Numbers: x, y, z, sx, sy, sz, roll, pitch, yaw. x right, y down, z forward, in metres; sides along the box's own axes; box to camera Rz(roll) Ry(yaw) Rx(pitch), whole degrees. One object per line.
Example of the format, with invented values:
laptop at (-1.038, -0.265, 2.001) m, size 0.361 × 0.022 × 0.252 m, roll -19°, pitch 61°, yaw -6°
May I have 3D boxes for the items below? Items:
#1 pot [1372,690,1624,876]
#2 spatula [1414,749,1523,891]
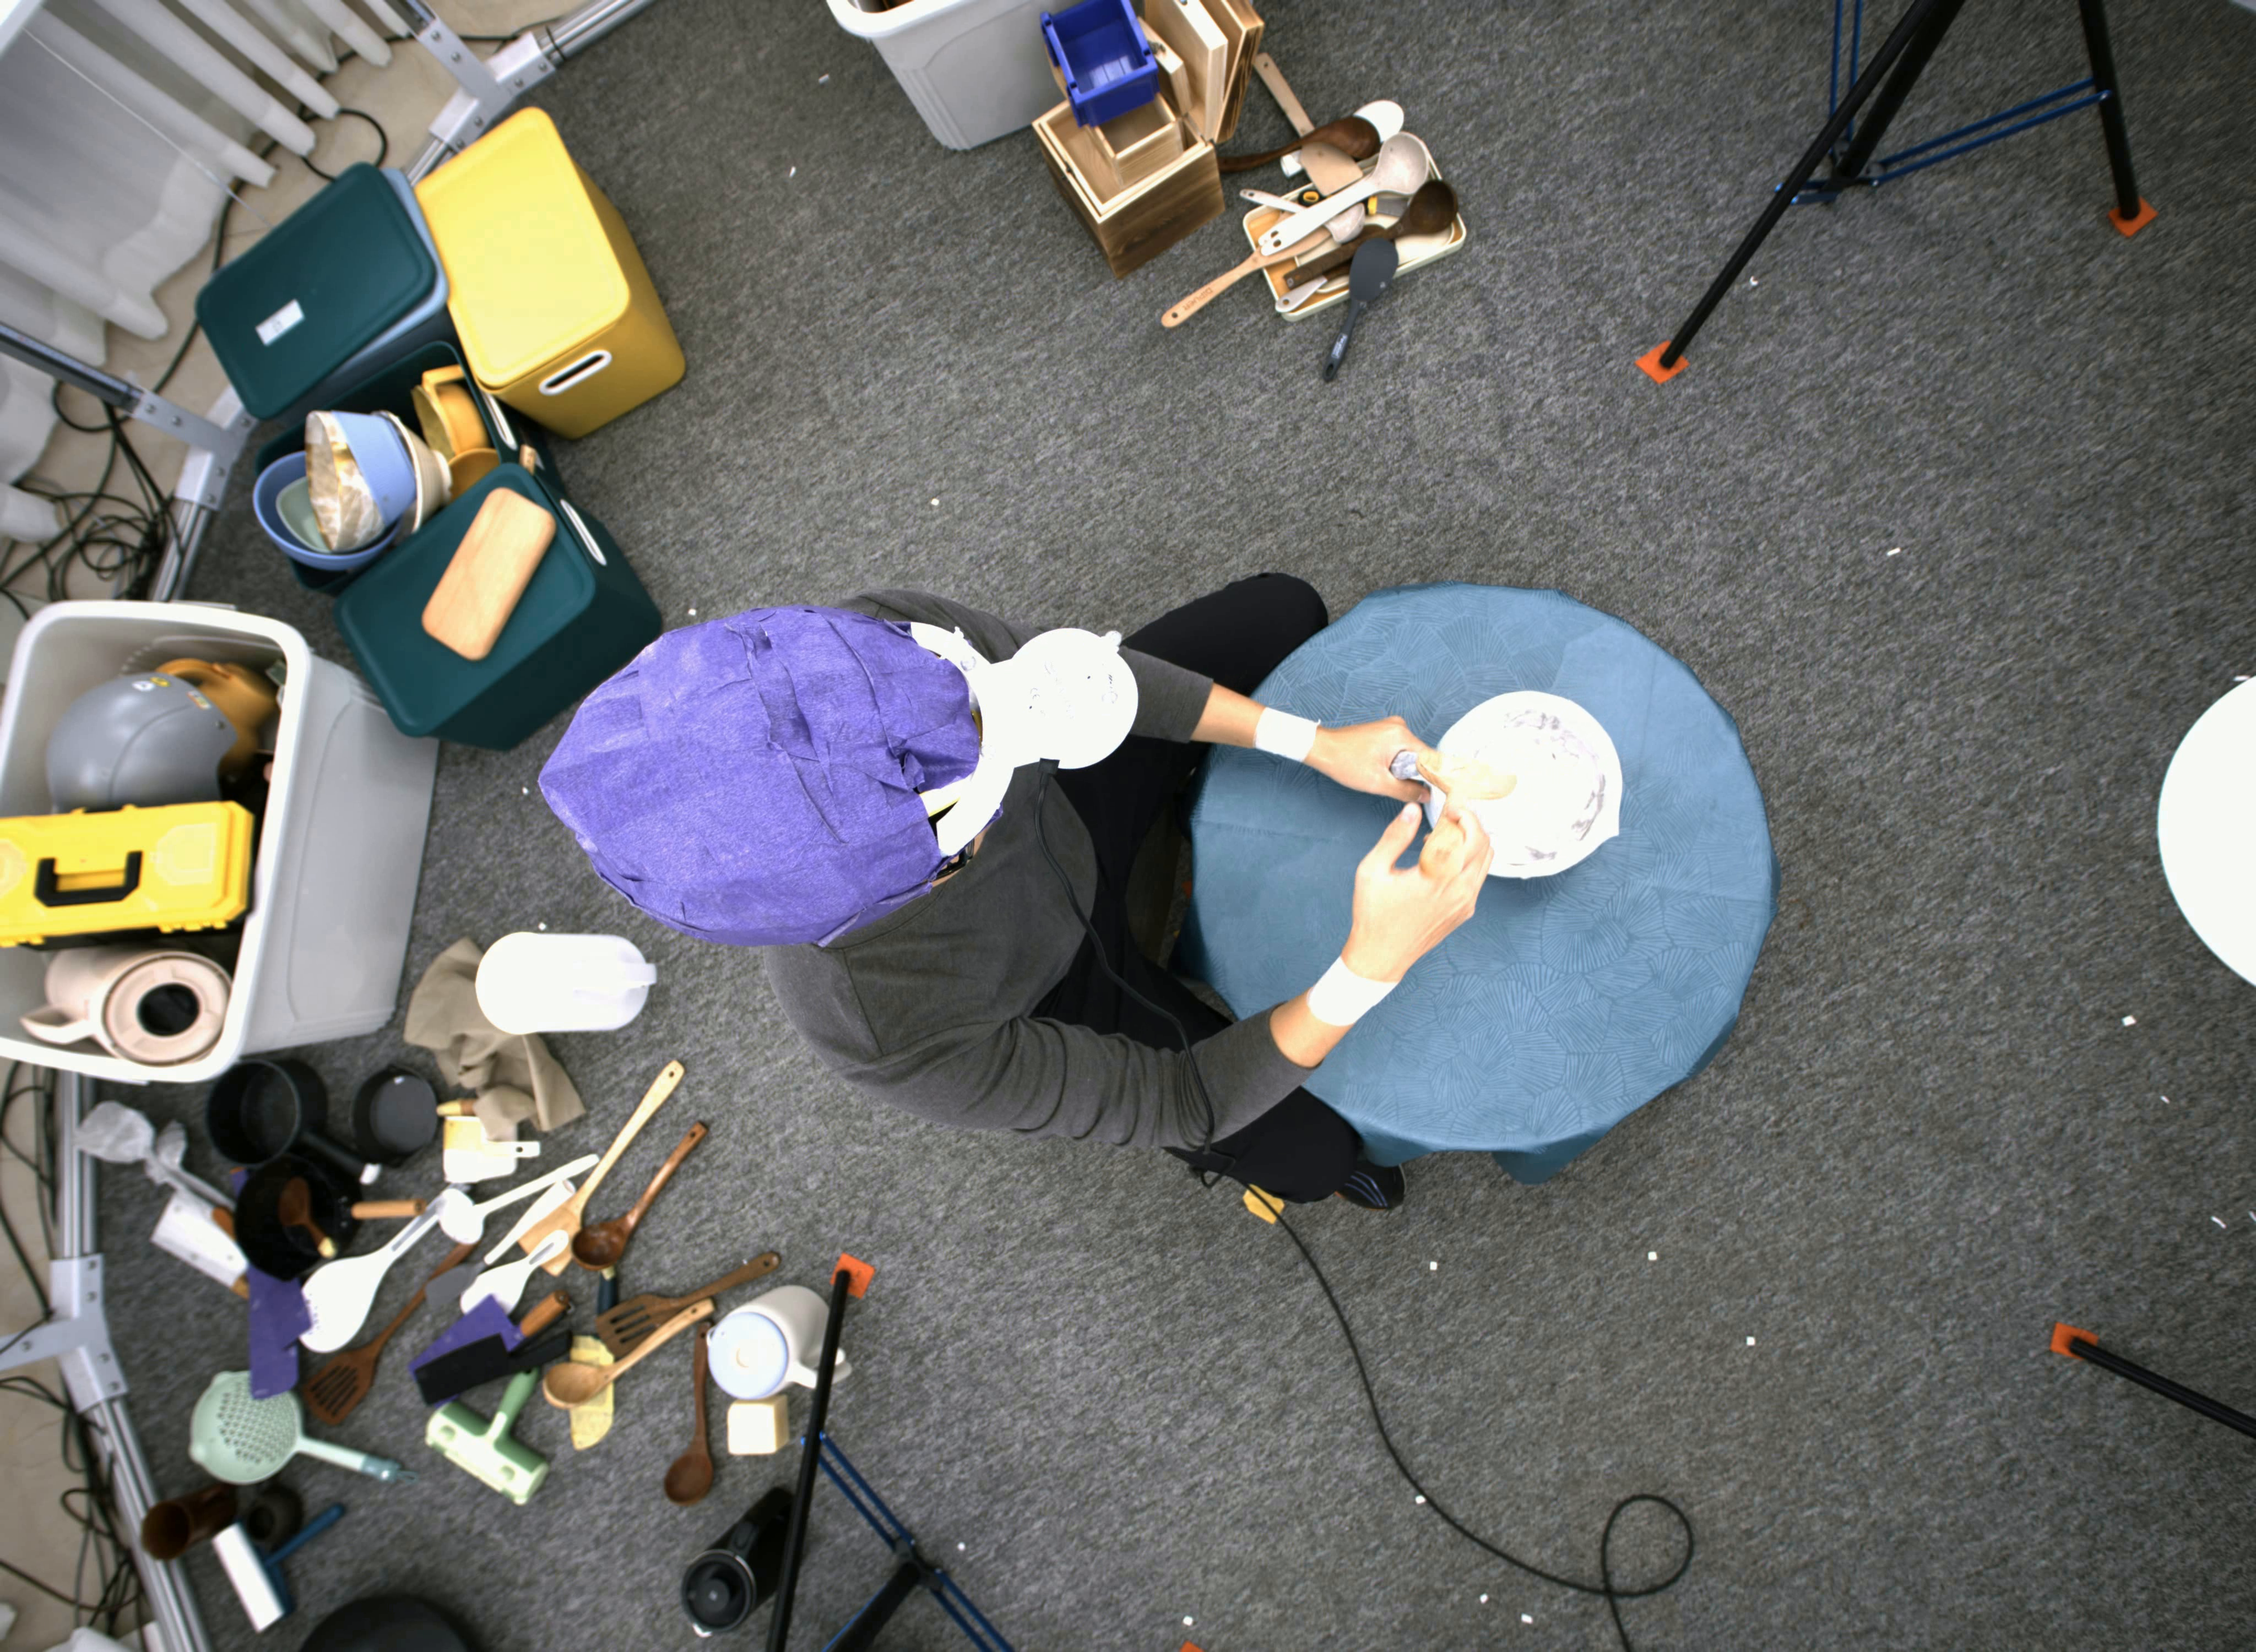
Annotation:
pot at (0.362, -0.045, 1.372) m, size 0.234 × 0.136 × 0.178 m, roll 9°, pitch 90°, yaw 7°
spatula at (0.270, -0.010, 1.120) m, size 0.096 × 0.384 × 0.019 m, roll 18°, pitch 109°, yaw 12°
